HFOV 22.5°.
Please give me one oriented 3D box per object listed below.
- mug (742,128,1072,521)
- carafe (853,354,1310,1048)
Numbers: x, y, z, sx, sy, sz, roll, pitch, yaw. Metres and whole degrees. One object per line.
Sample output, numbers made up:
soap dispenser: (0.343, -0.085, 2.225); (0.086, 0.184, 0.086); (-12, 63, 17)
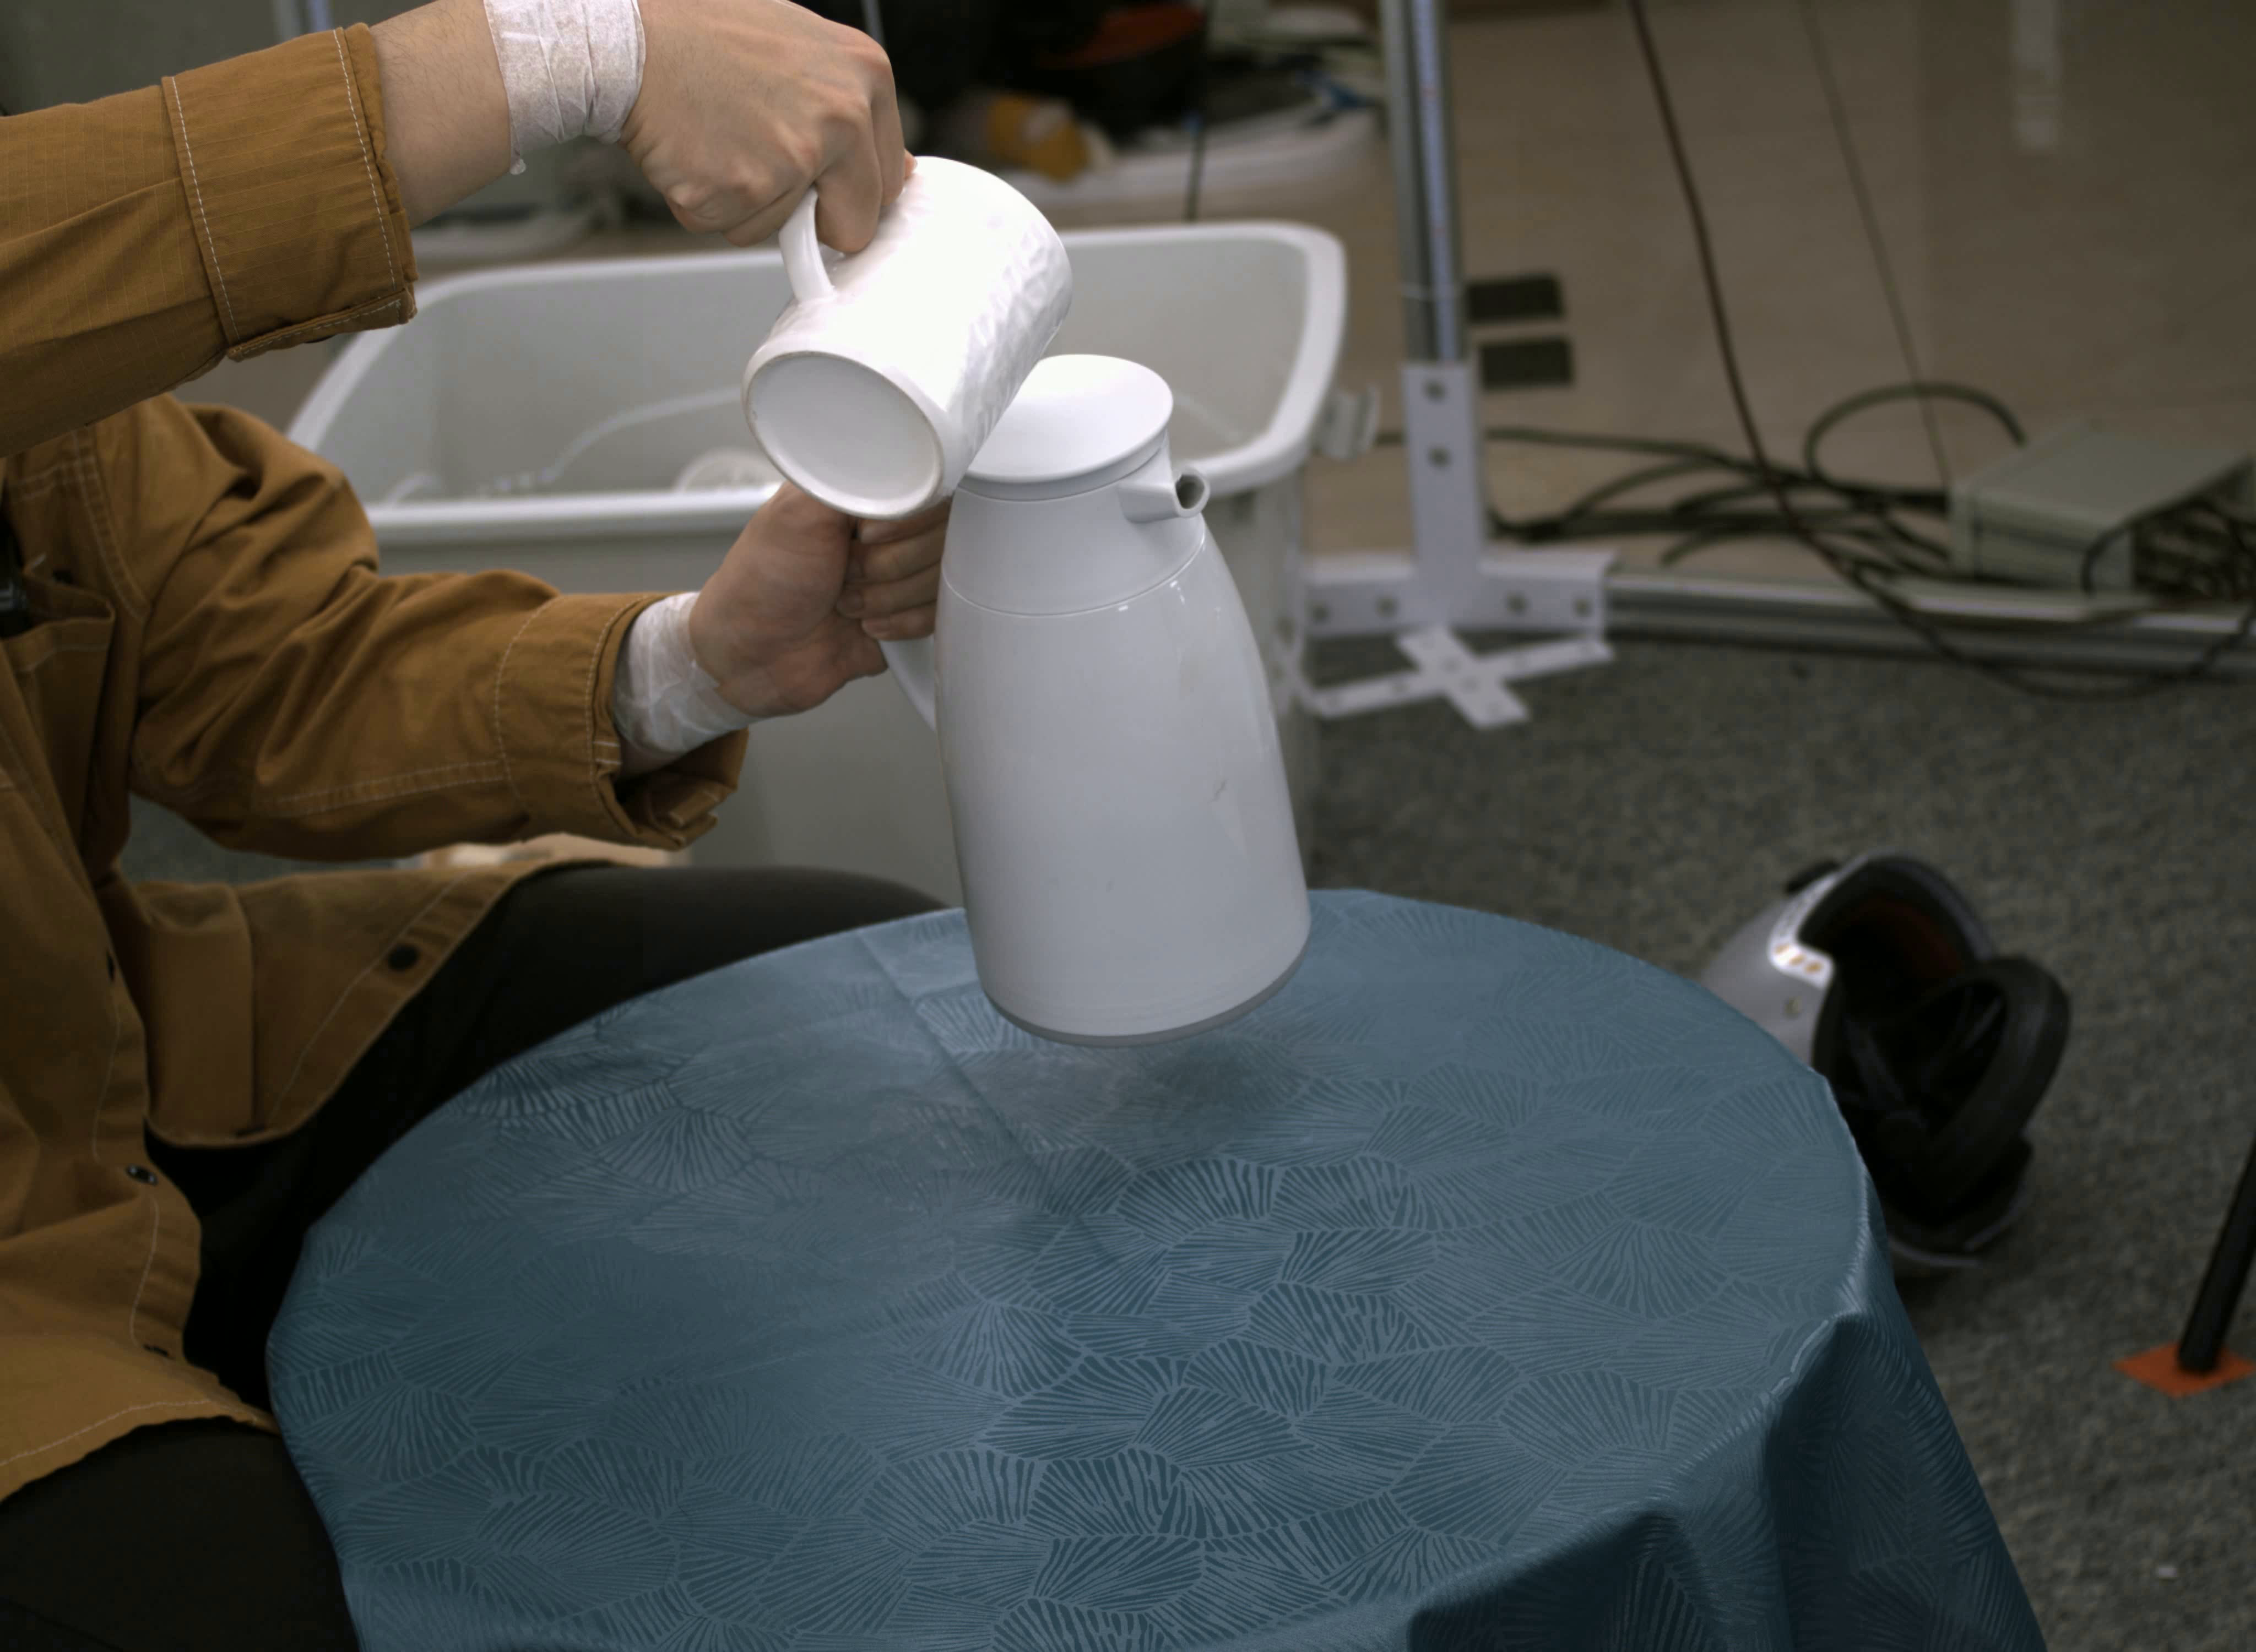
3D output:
mug: (-0.084, -0.180, 1.958); (0.085, 0.120, 0.100); (-4, 42, 35)
carafe: (-0.028, -0.057, 2.144); (0.166, 0.253, 0.131); (15, 42, 33)
